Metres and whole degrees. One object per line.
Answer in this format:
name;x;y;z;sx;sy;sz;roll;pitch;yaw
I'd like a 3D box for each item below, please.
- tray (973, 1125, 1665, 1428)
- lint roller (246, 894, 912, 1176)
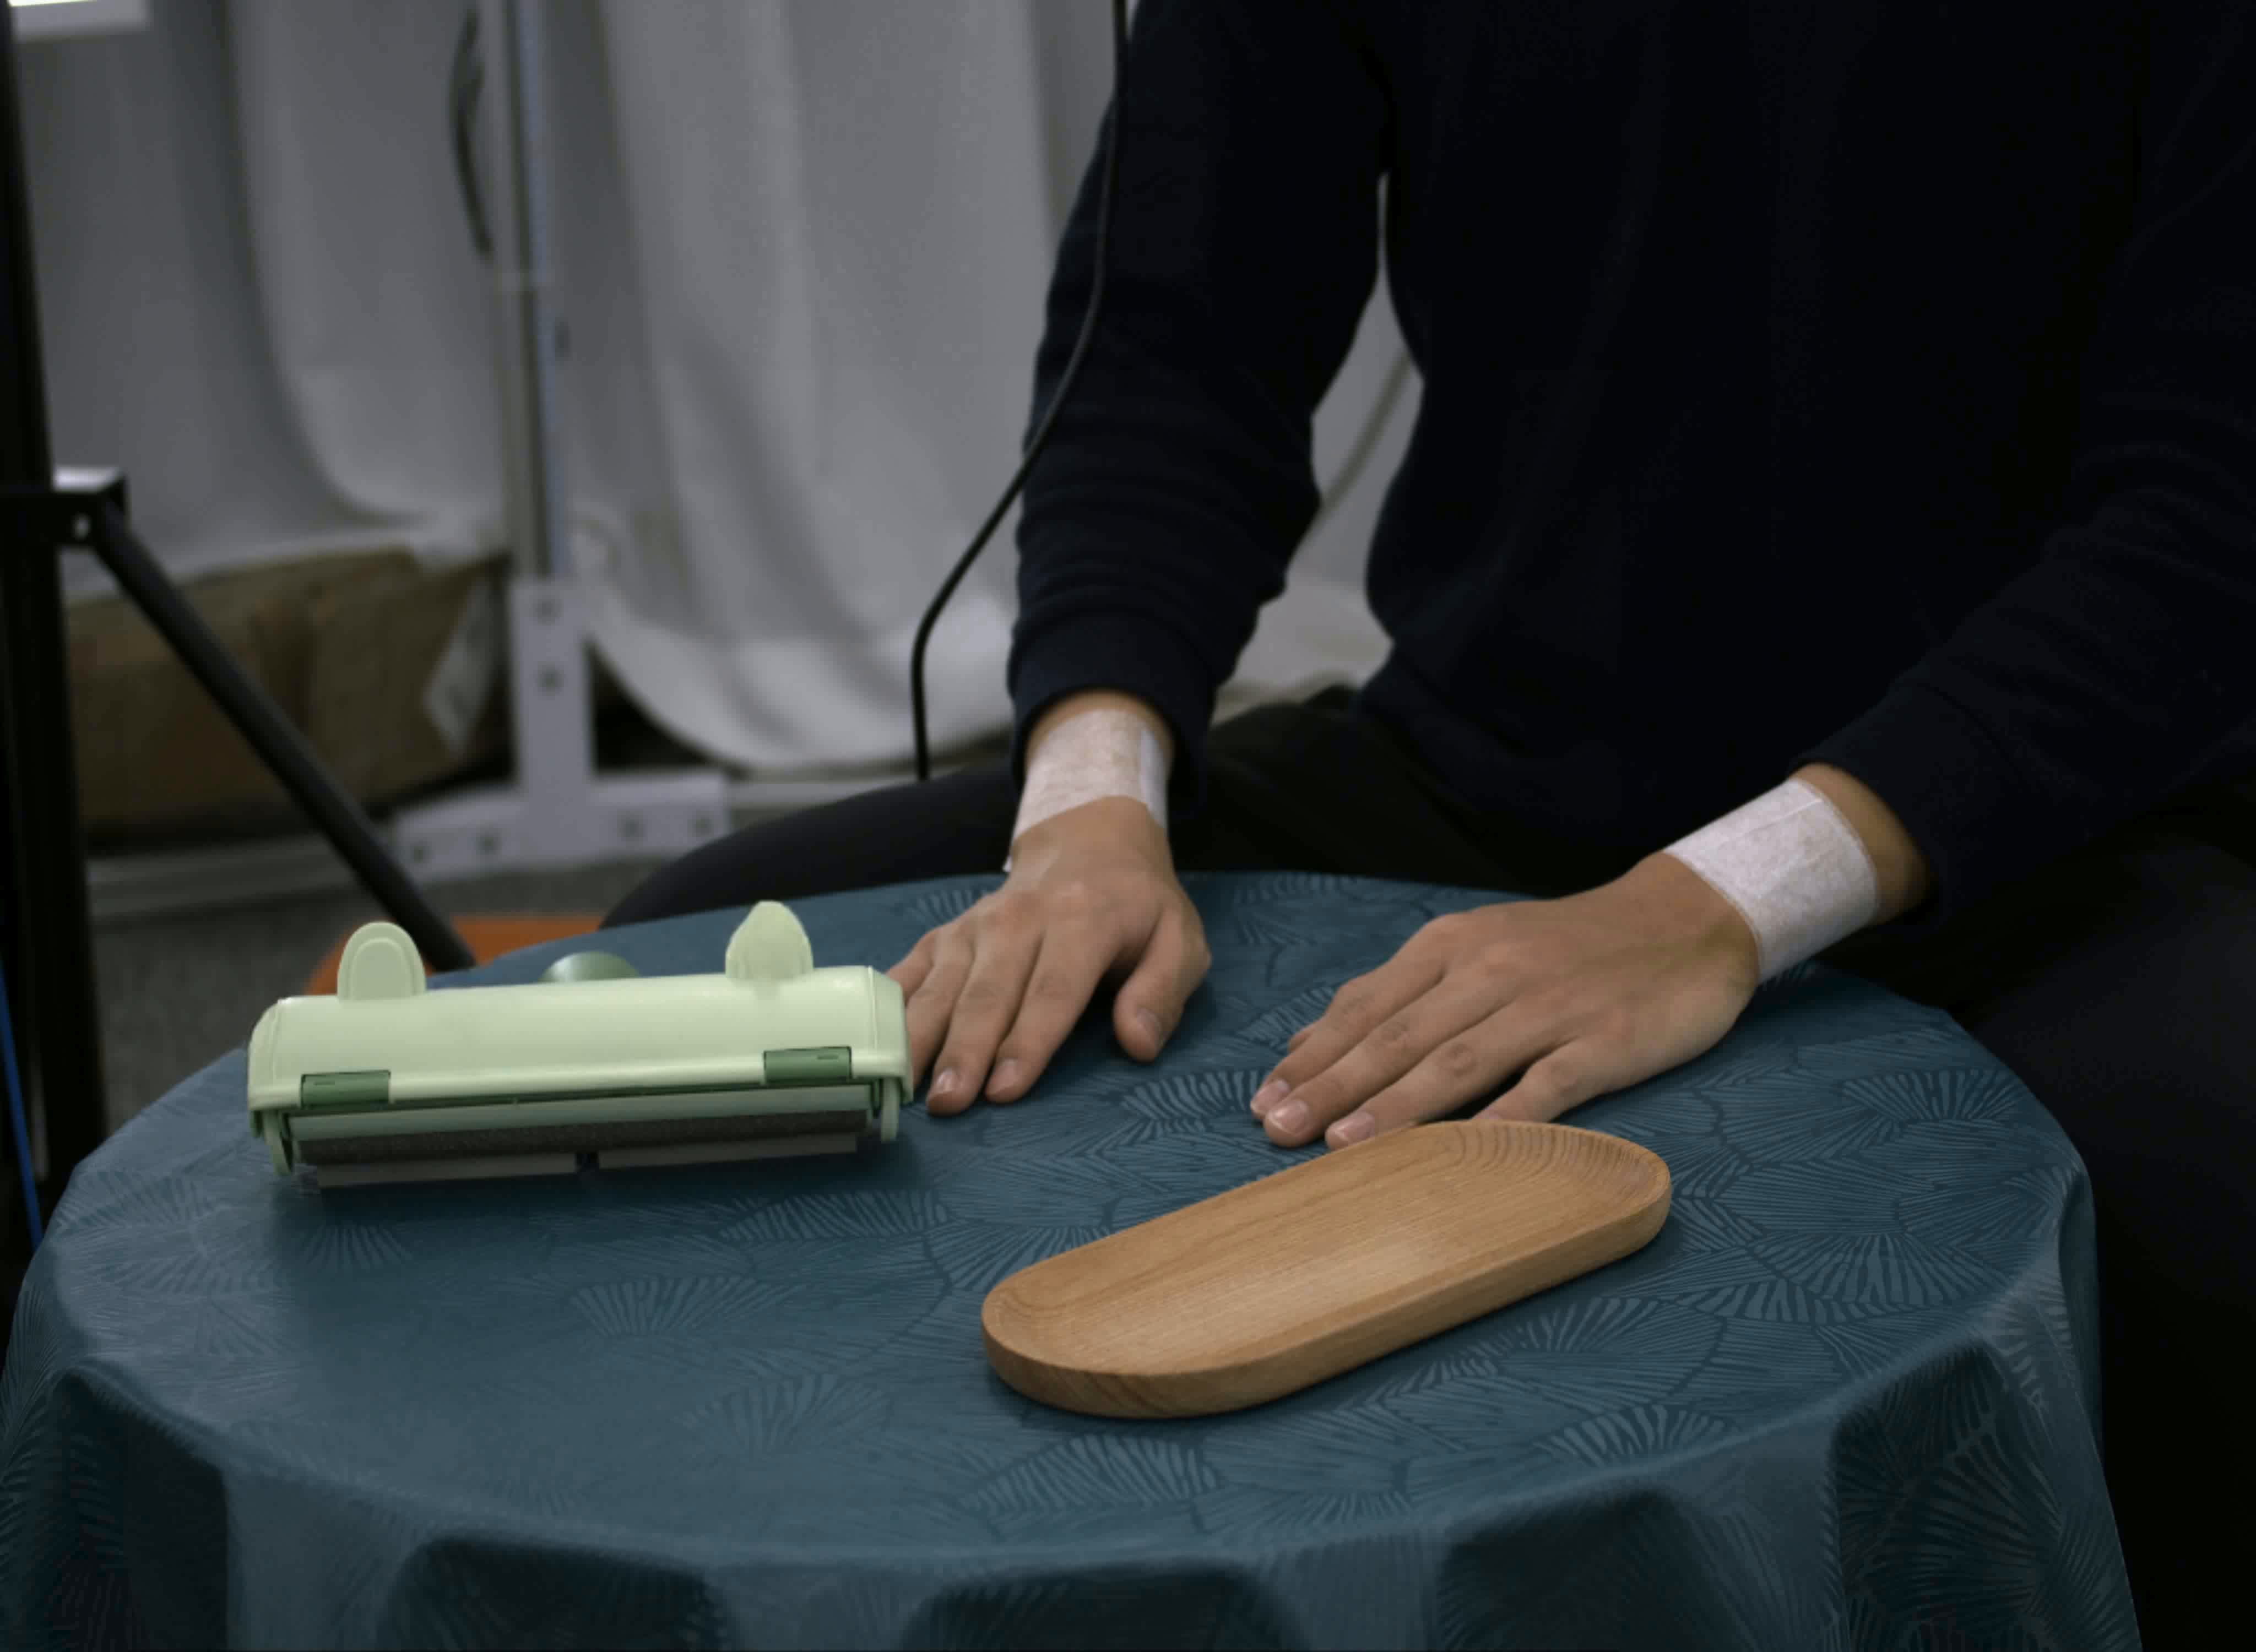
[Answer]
tray;0.056;0.123;1.465;0.226;0.020;0.104;-19;21;-40
lint roller;-0.169;0.046;1.648;0.197;0.082;0.185;-3;21;-3
